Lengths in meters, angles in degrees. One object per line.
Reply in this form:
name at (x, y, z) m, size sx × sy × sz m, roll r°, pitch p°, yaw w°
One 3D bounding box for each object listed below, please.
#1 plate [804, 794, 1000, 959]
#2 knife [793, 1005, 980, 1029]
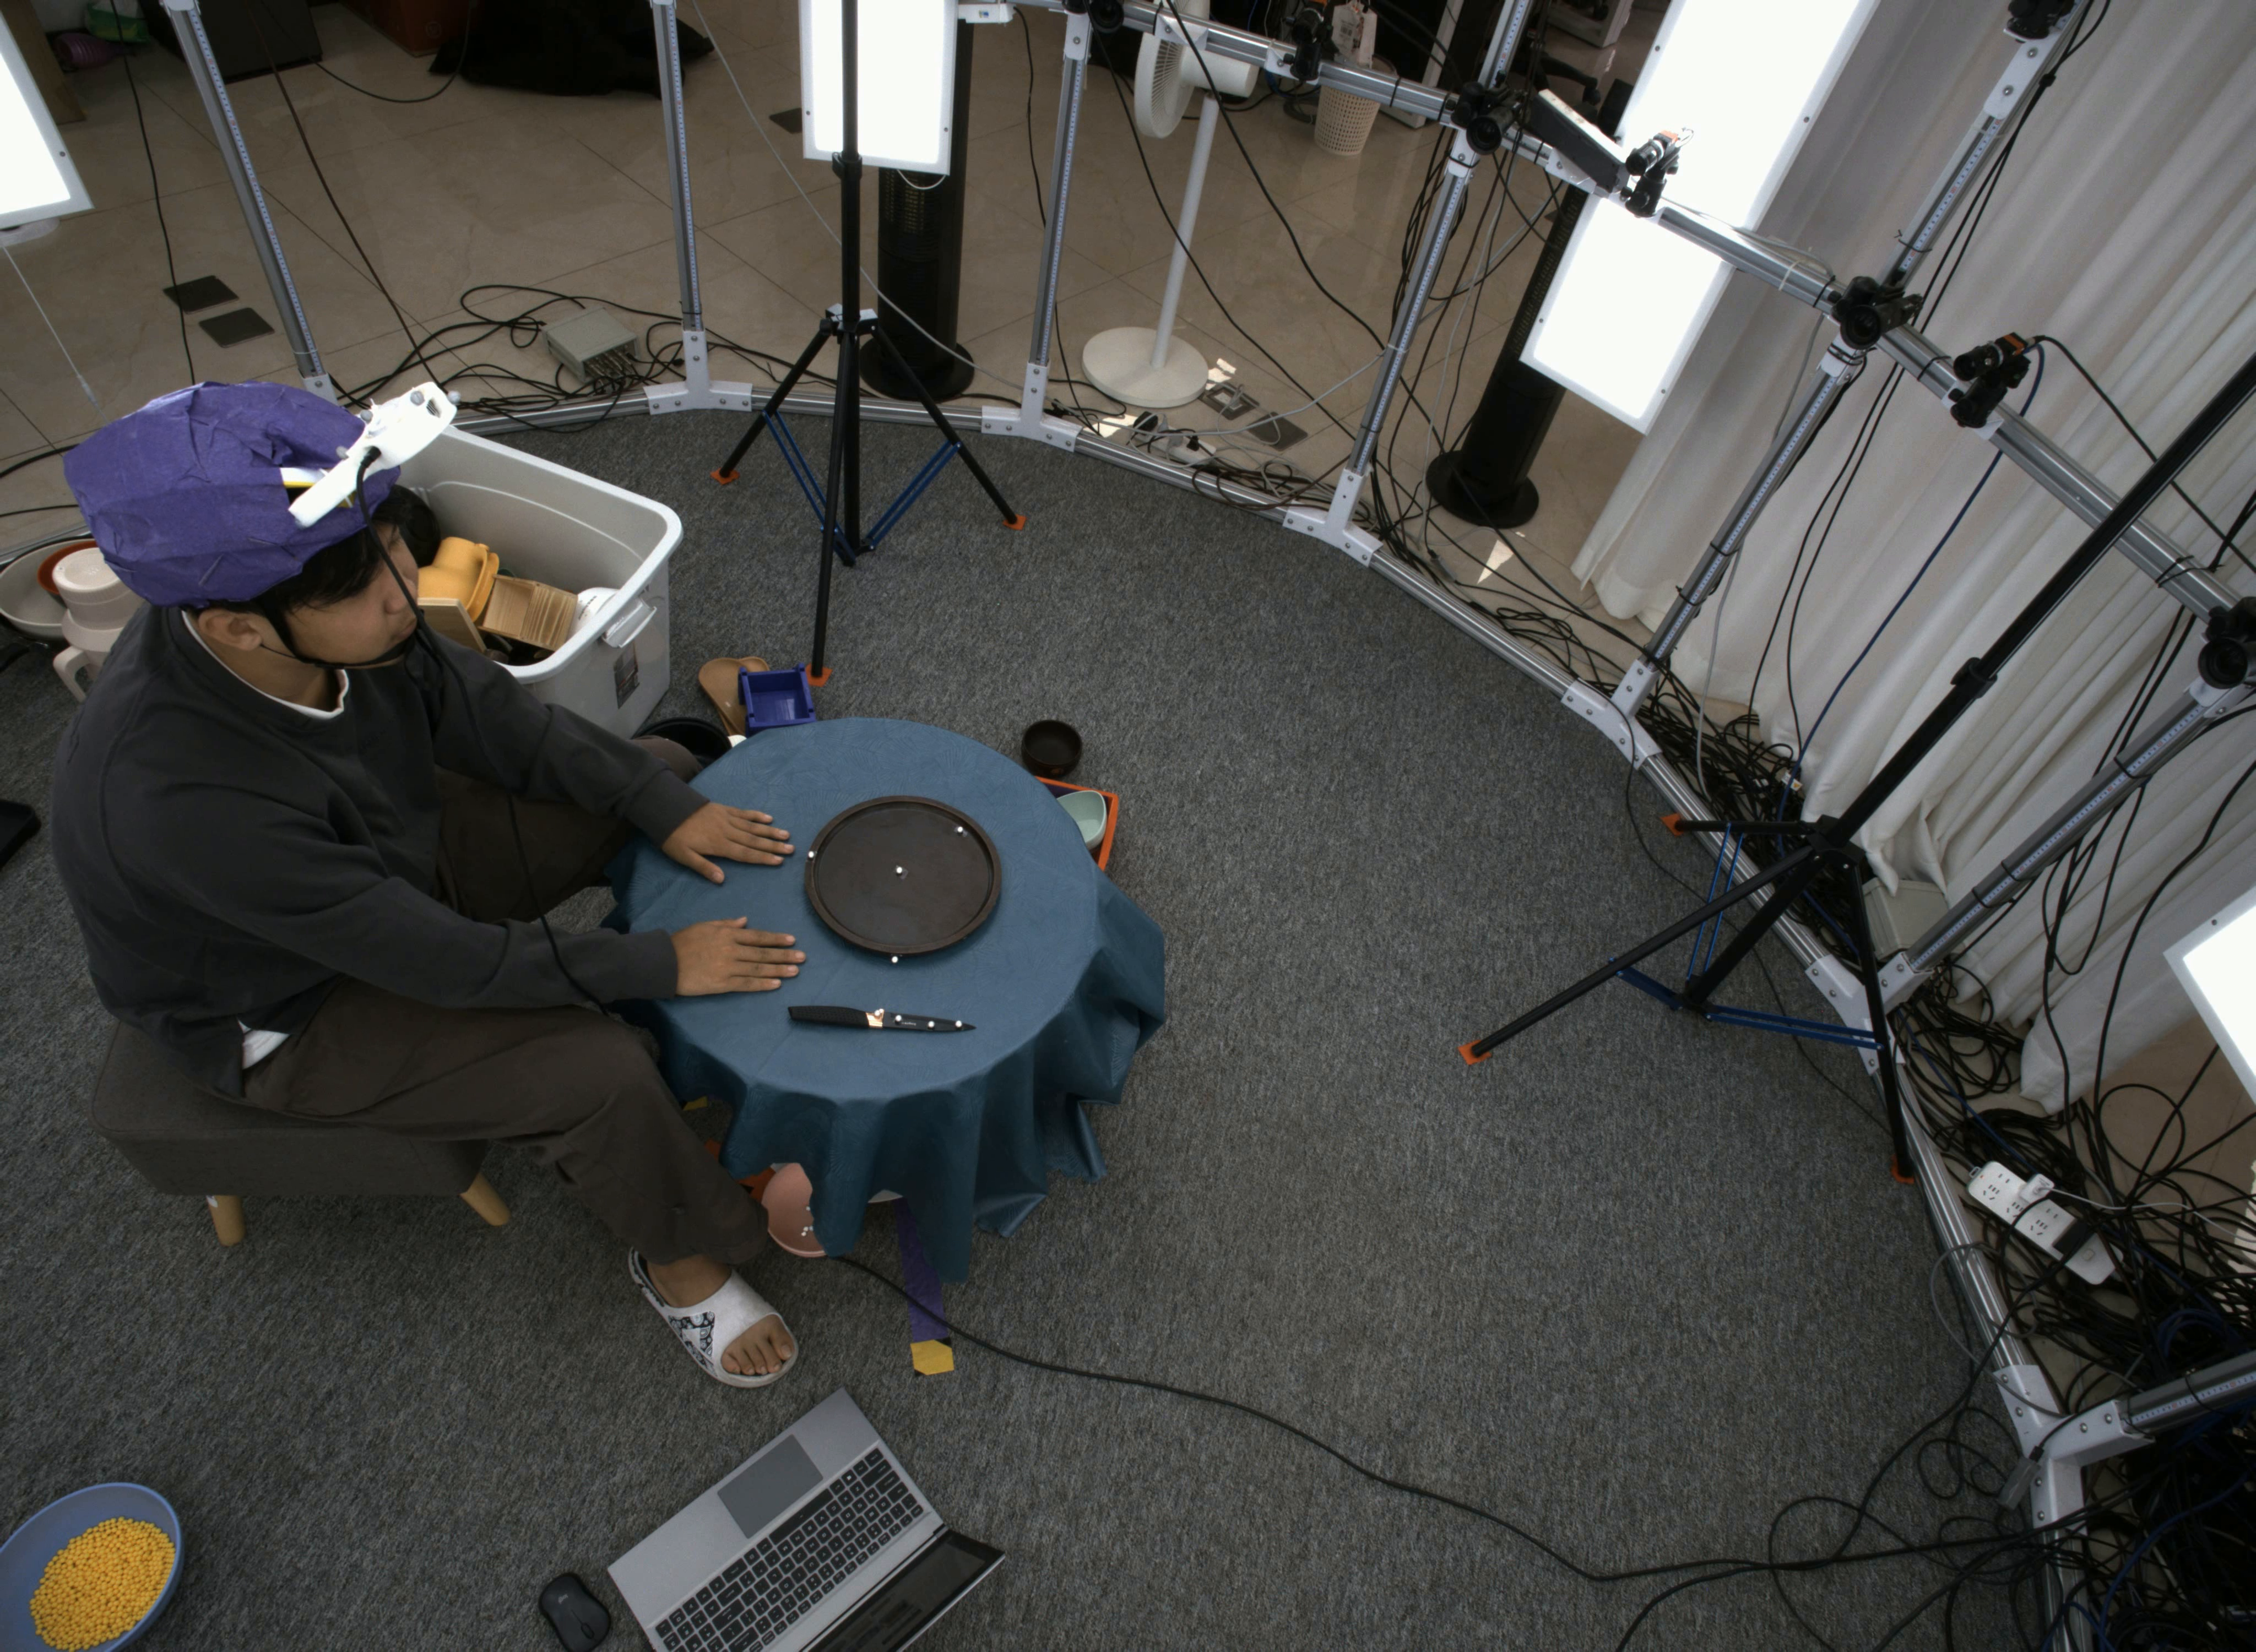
plate at (-0.292, 0.063, 1.691) m, size 0.254 × 0.029 × 0.250 m, roll 7°, pitch 54°, yaw -8°
knife at (-0.291, 0.231, 1.574) m, size 0.225 × 0.017 × 0.025 m, roll 5°, pitch 47°, yaw -11°
